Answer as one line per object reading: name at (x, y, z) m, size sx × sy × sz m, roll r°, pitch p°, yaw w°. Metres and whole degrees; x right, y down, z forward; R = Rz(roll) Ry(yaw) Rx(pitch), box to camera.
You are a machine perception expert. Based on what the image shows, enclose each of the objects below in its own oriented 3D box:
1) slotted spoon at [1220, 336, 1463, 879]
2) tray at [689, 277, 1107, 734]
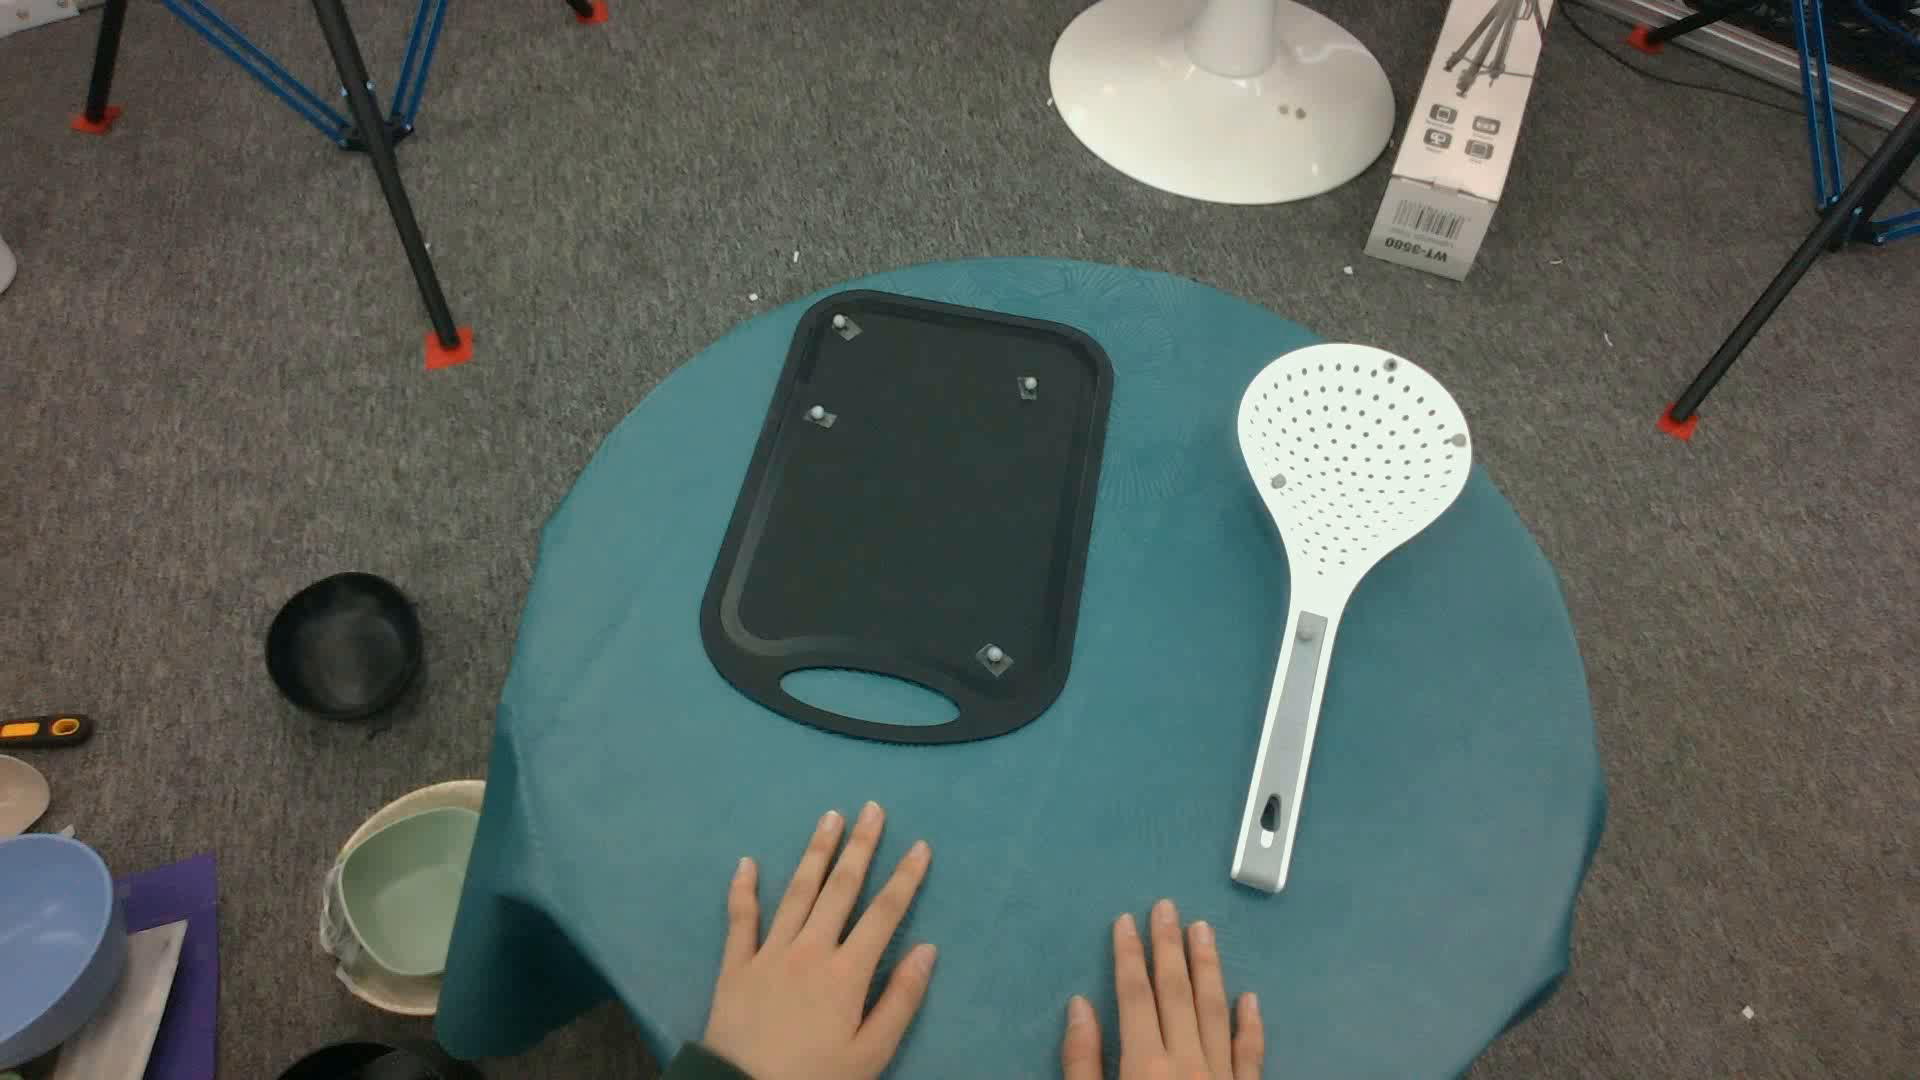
slotted spoon at (0.198, 0.024, 0.776) m, size 0.136 × 0.045 × 0.351 m, roll 16°, pitch 56°, yaw 9°
tray at (-0.029, -0.033, 0.820) m, size 0.211 × 0.010 × 0.327 m, roll 11°, pitch 55°, yaw 3°
